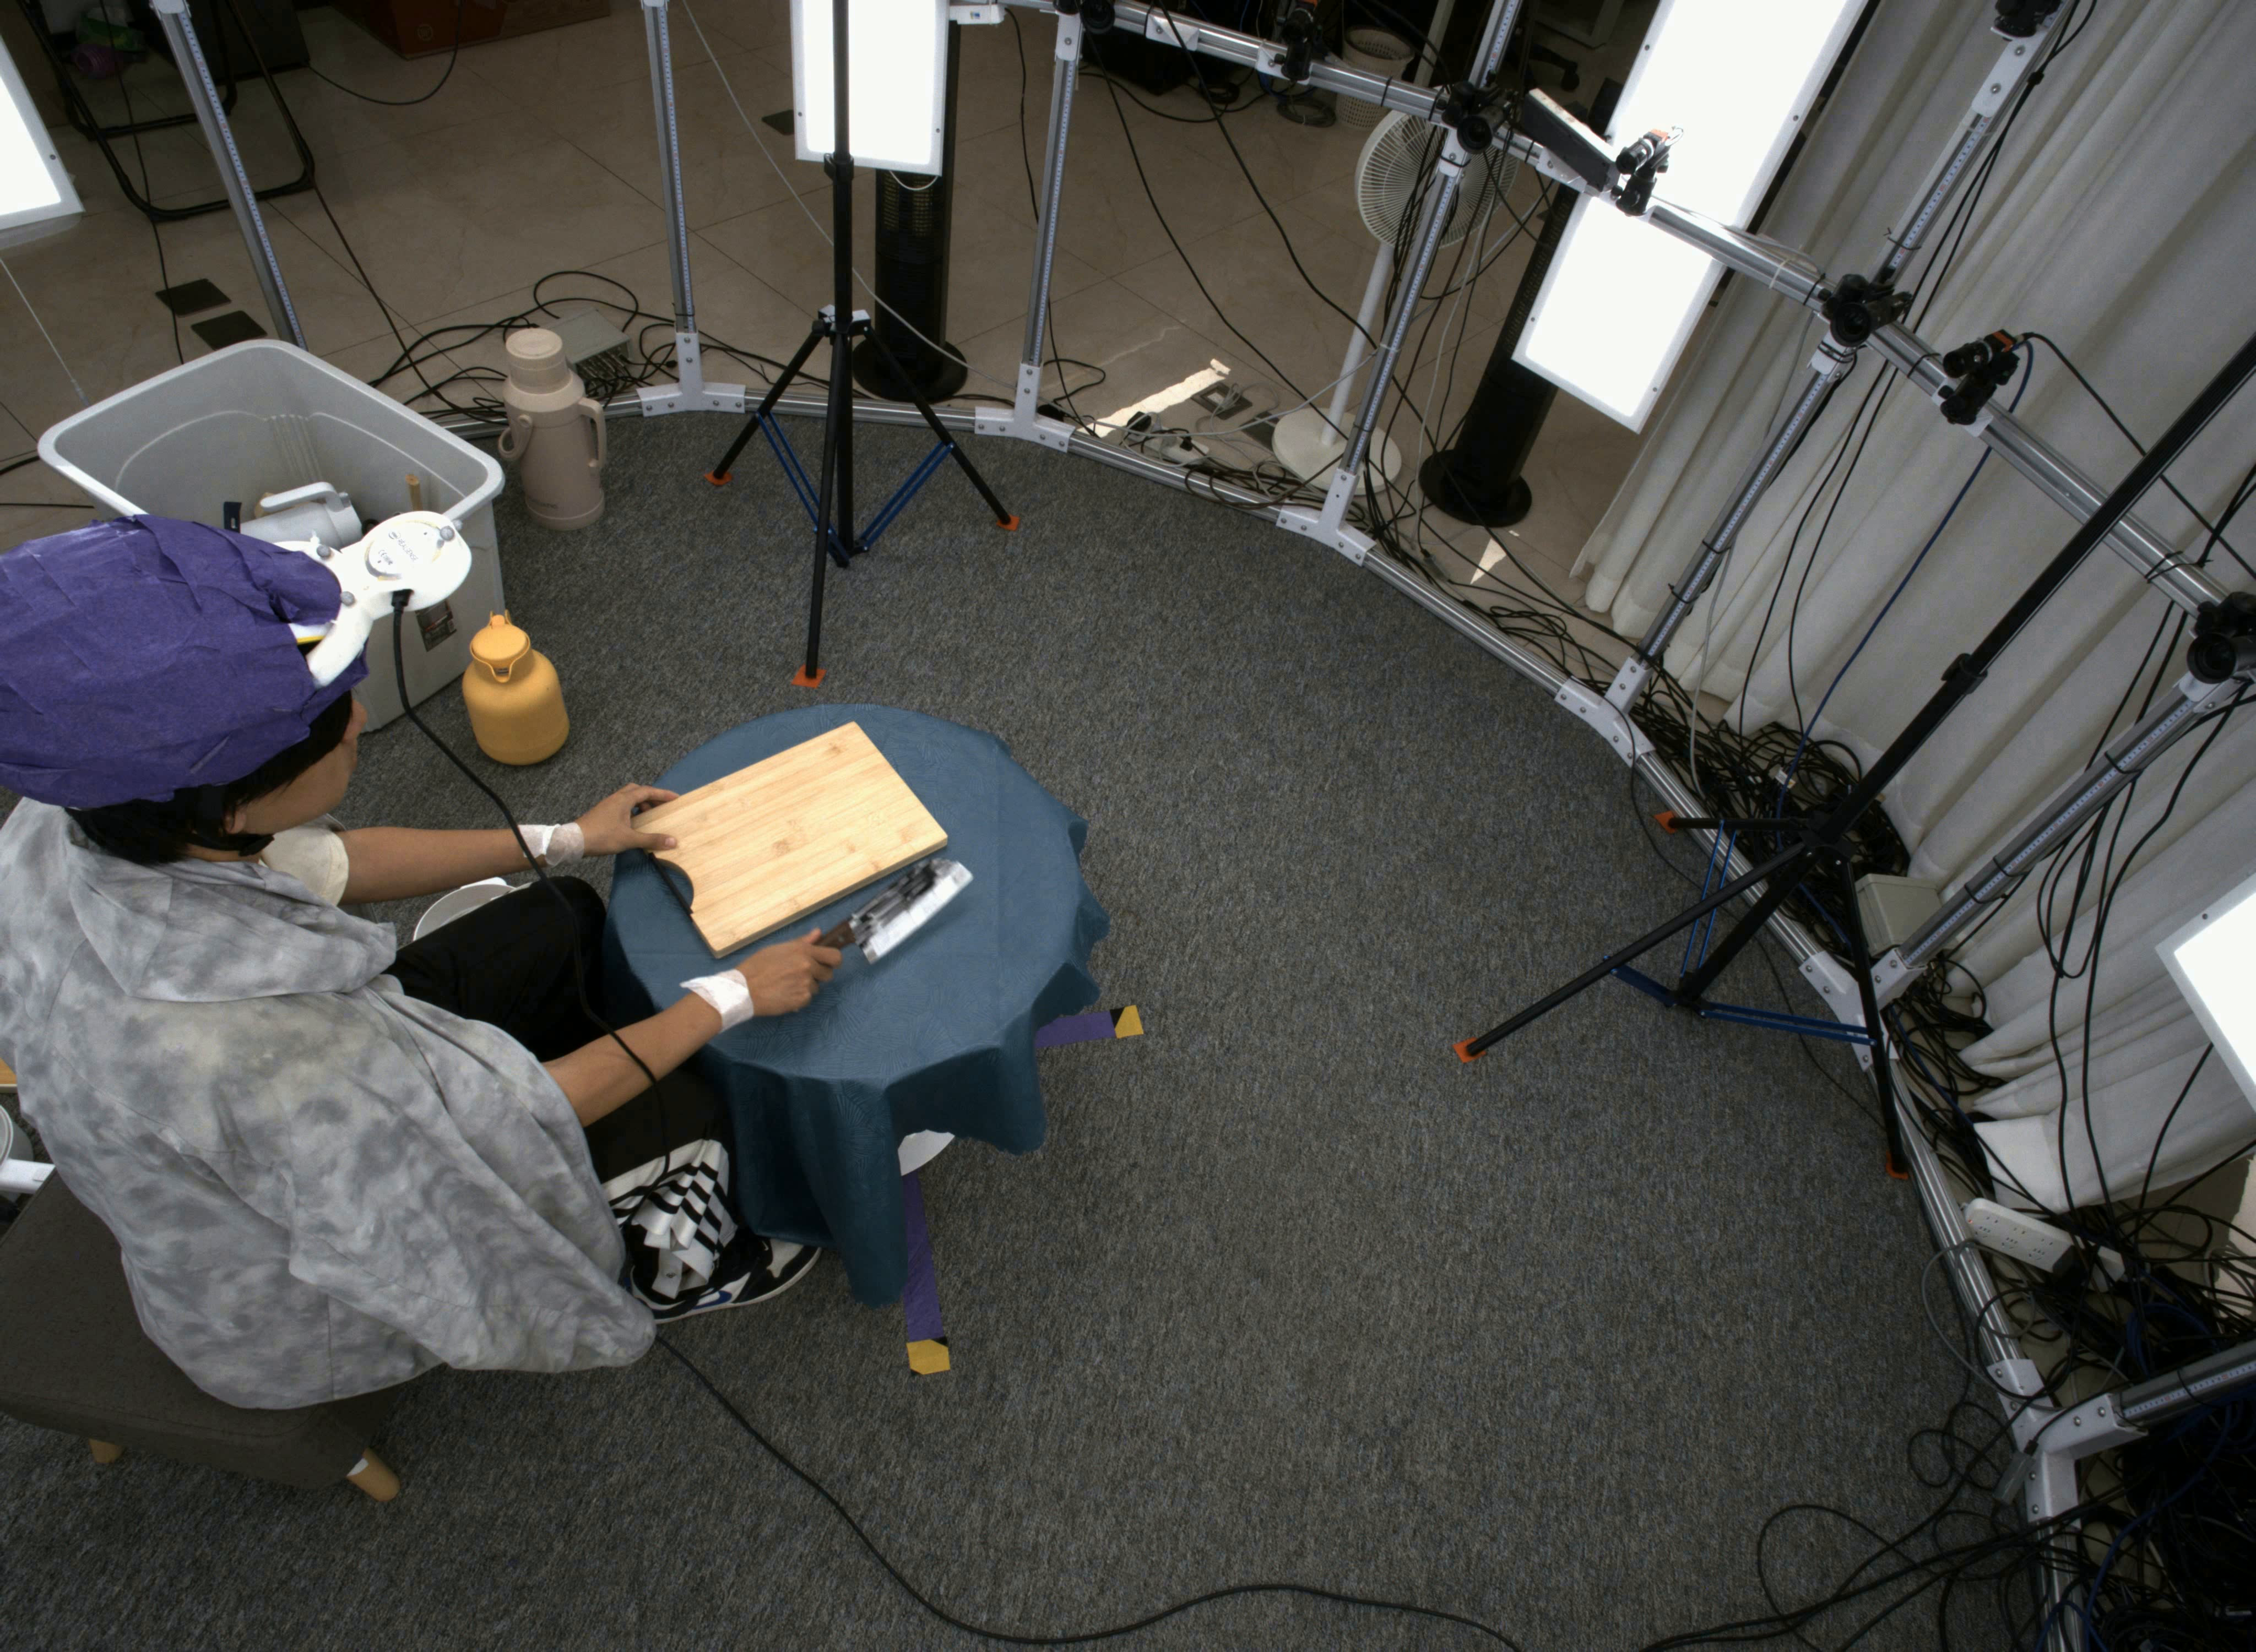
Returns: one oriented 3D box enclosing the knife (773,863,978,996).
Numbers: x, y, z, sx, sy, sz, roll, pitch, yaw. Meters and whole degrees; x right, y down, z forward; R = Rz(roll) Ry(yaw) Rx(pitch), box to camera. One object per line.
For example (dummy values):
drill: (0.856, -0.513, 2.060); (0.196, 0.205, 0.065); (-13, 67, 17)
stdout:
knife: (-0.304, 0.130, 1.602); (0.300, 0.070, 0.023); (-39, 25, -30)

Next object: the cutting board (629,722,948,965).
cutting board: (-0.442, 0.011, 1.703); (0.350, 0.024, 0.244); (-29, 65, -30)
